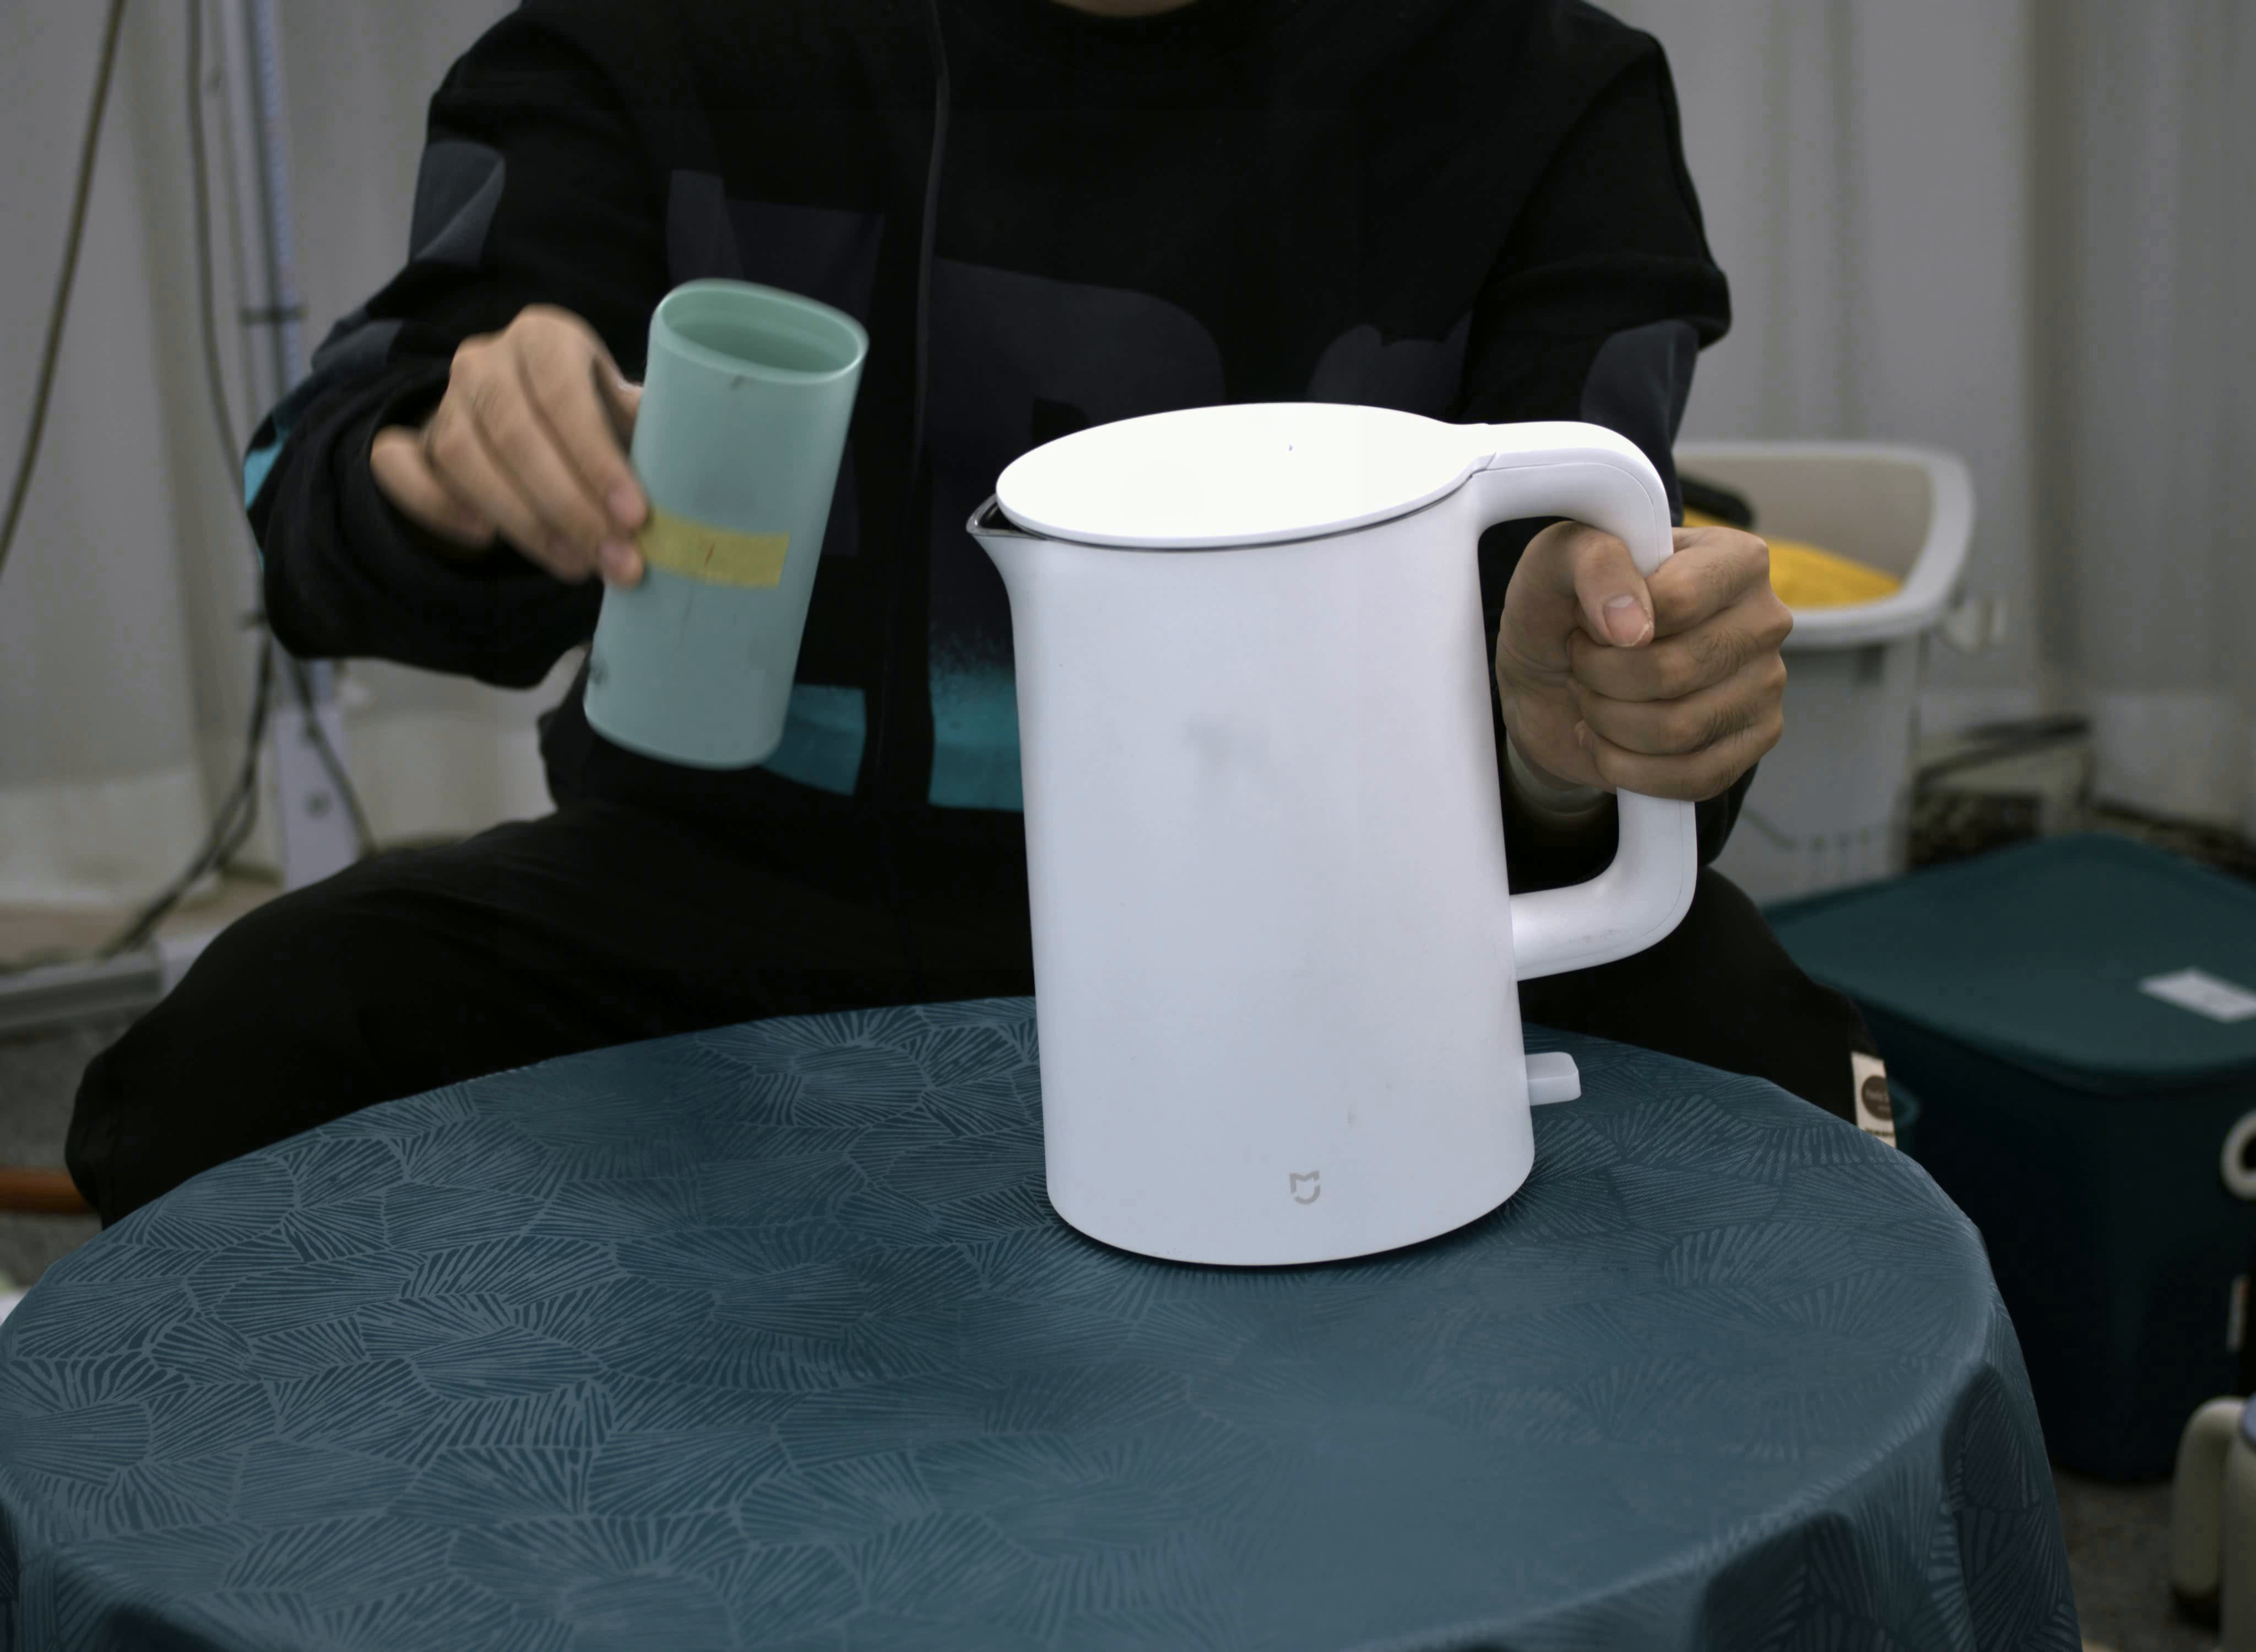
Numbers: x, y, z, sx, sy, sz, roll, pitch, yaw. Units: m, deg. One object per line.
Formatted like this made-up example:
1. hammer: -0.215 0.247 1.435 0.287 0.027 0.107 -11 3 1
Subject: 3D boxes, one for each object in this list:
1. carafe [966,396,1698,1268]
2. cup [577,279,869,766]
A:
1. carafe: 0.067 -0.003 1.668 0.212 0.239 0.153 -7 19 -3
2. cup: -0.122 -0.092 1.644 0.066 0.131 0.067 12 26 -6
